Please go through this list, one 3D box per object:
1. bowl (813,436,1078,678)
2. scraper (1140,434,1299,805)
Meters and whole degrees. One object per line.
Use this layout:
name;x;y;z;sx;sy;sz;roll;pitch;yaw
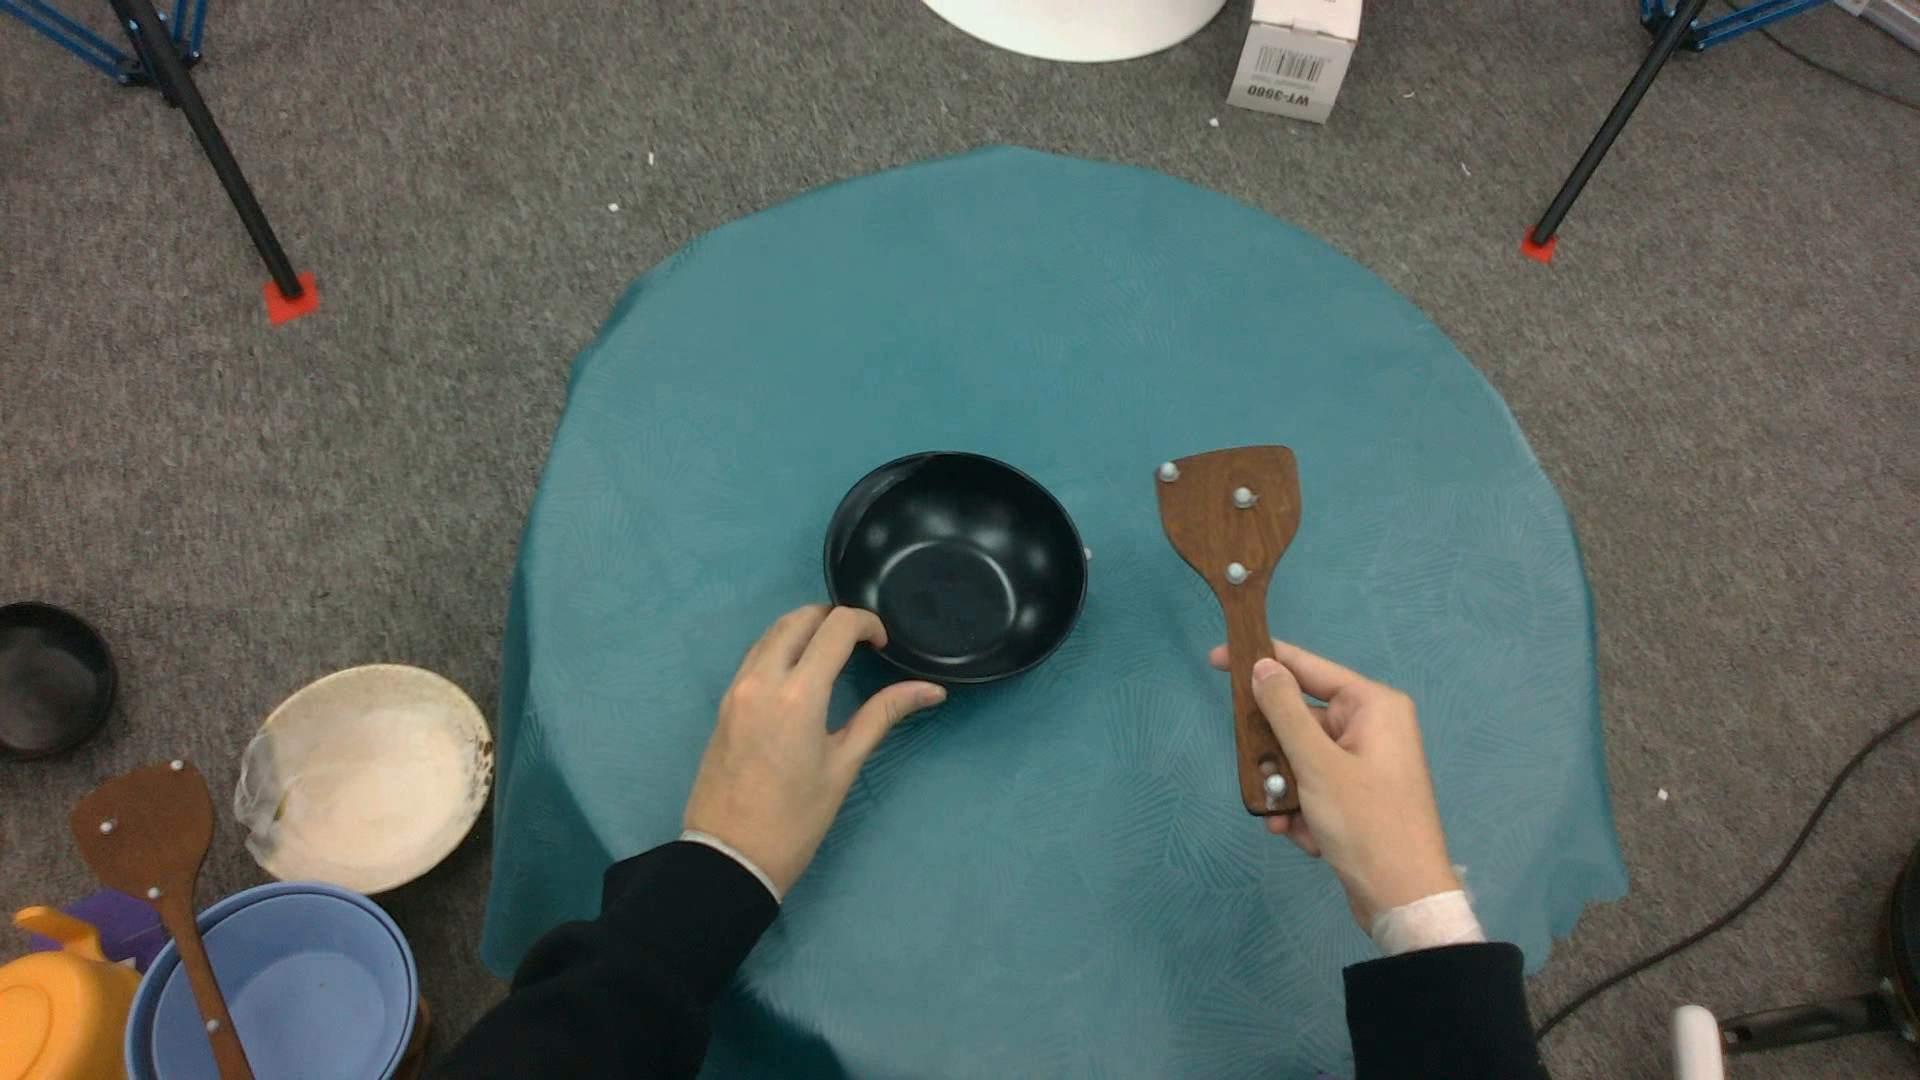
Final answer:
bowl;-0.011;0.015;0.725;0.140;0.049;0.140;6;58;-10
scraper;0.131;0.031;0.654;0.076;0.011;0.212;-8;49;9
